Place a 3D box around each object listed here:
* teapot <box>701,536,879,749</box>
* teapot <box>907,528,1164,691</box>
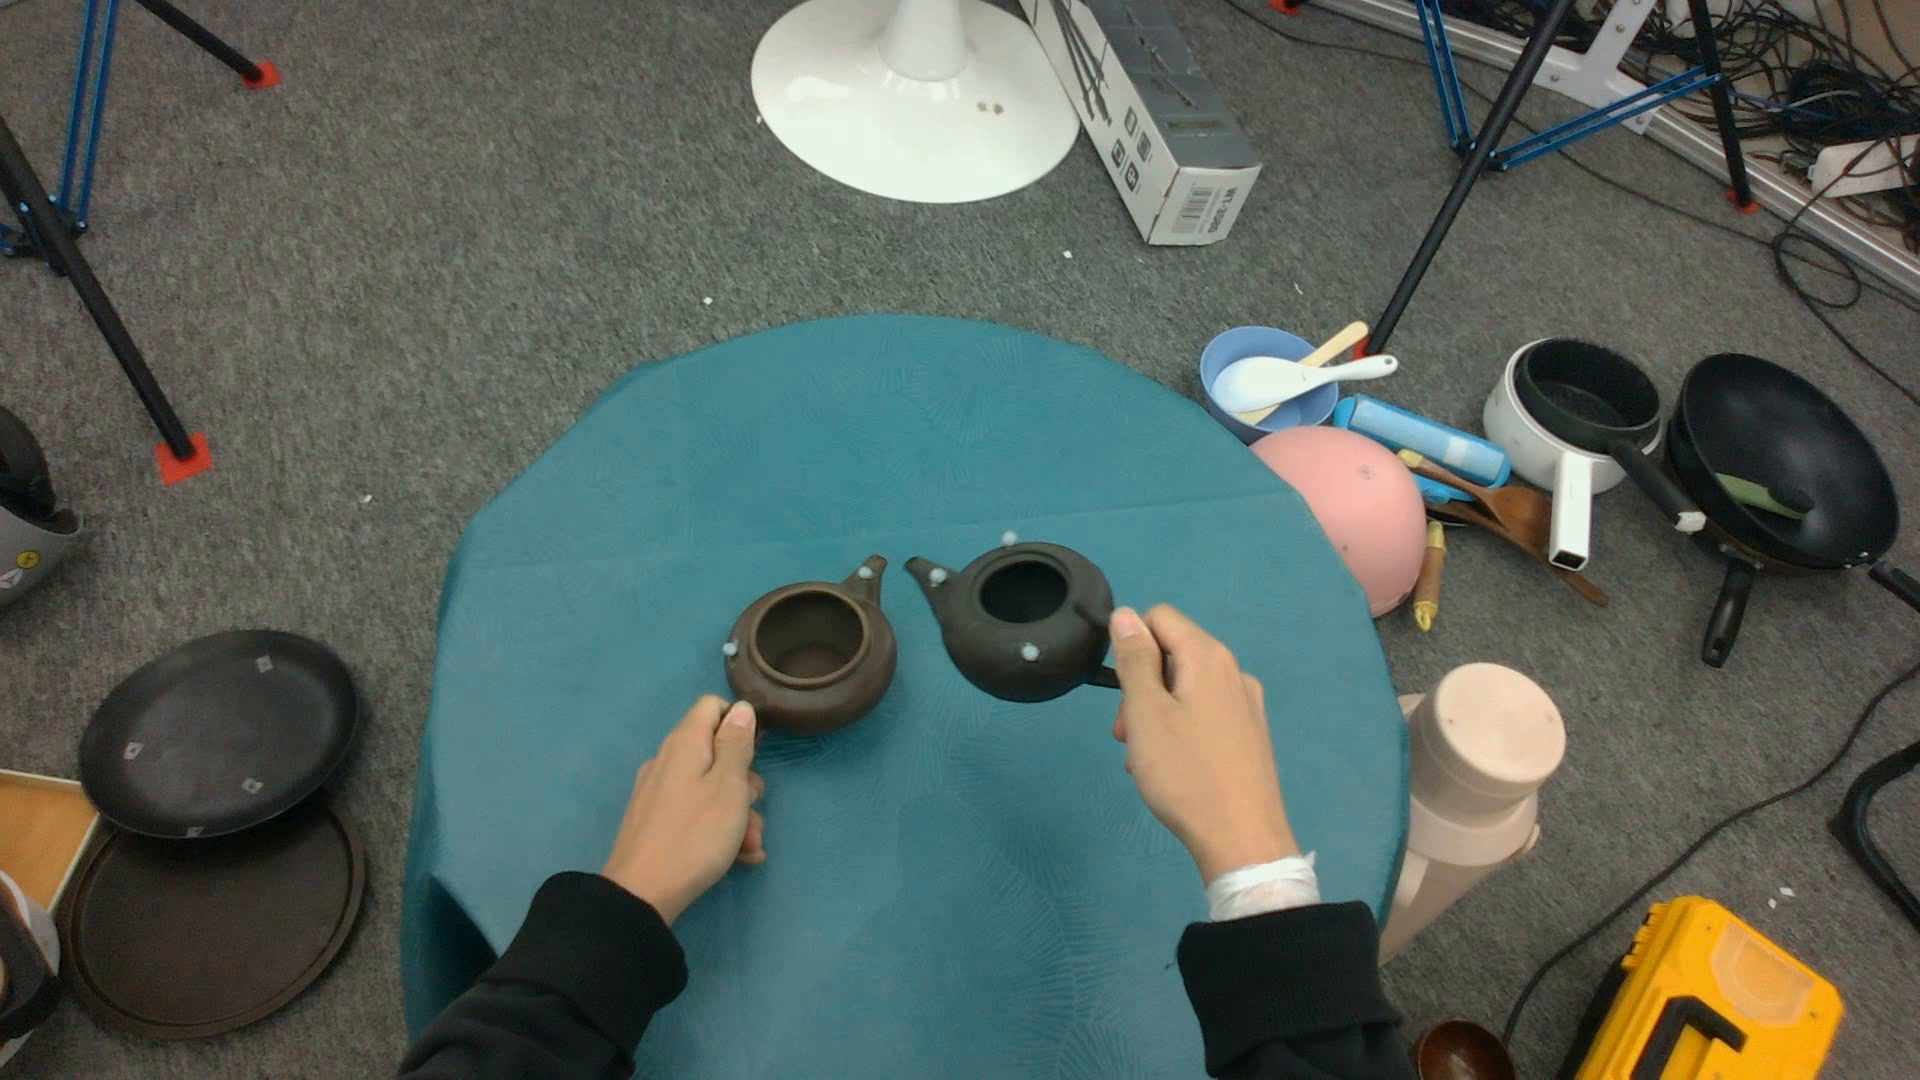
[{"bbox_3d":[-0.101,0.062,0.811,0.102,0.053,0.154,21,51,17],"label":"teapot"},{"bbox_3d":[0.038,0.037,0.721,0.154,0.064,0.093,21,50,29],"label":"teapot"}]
